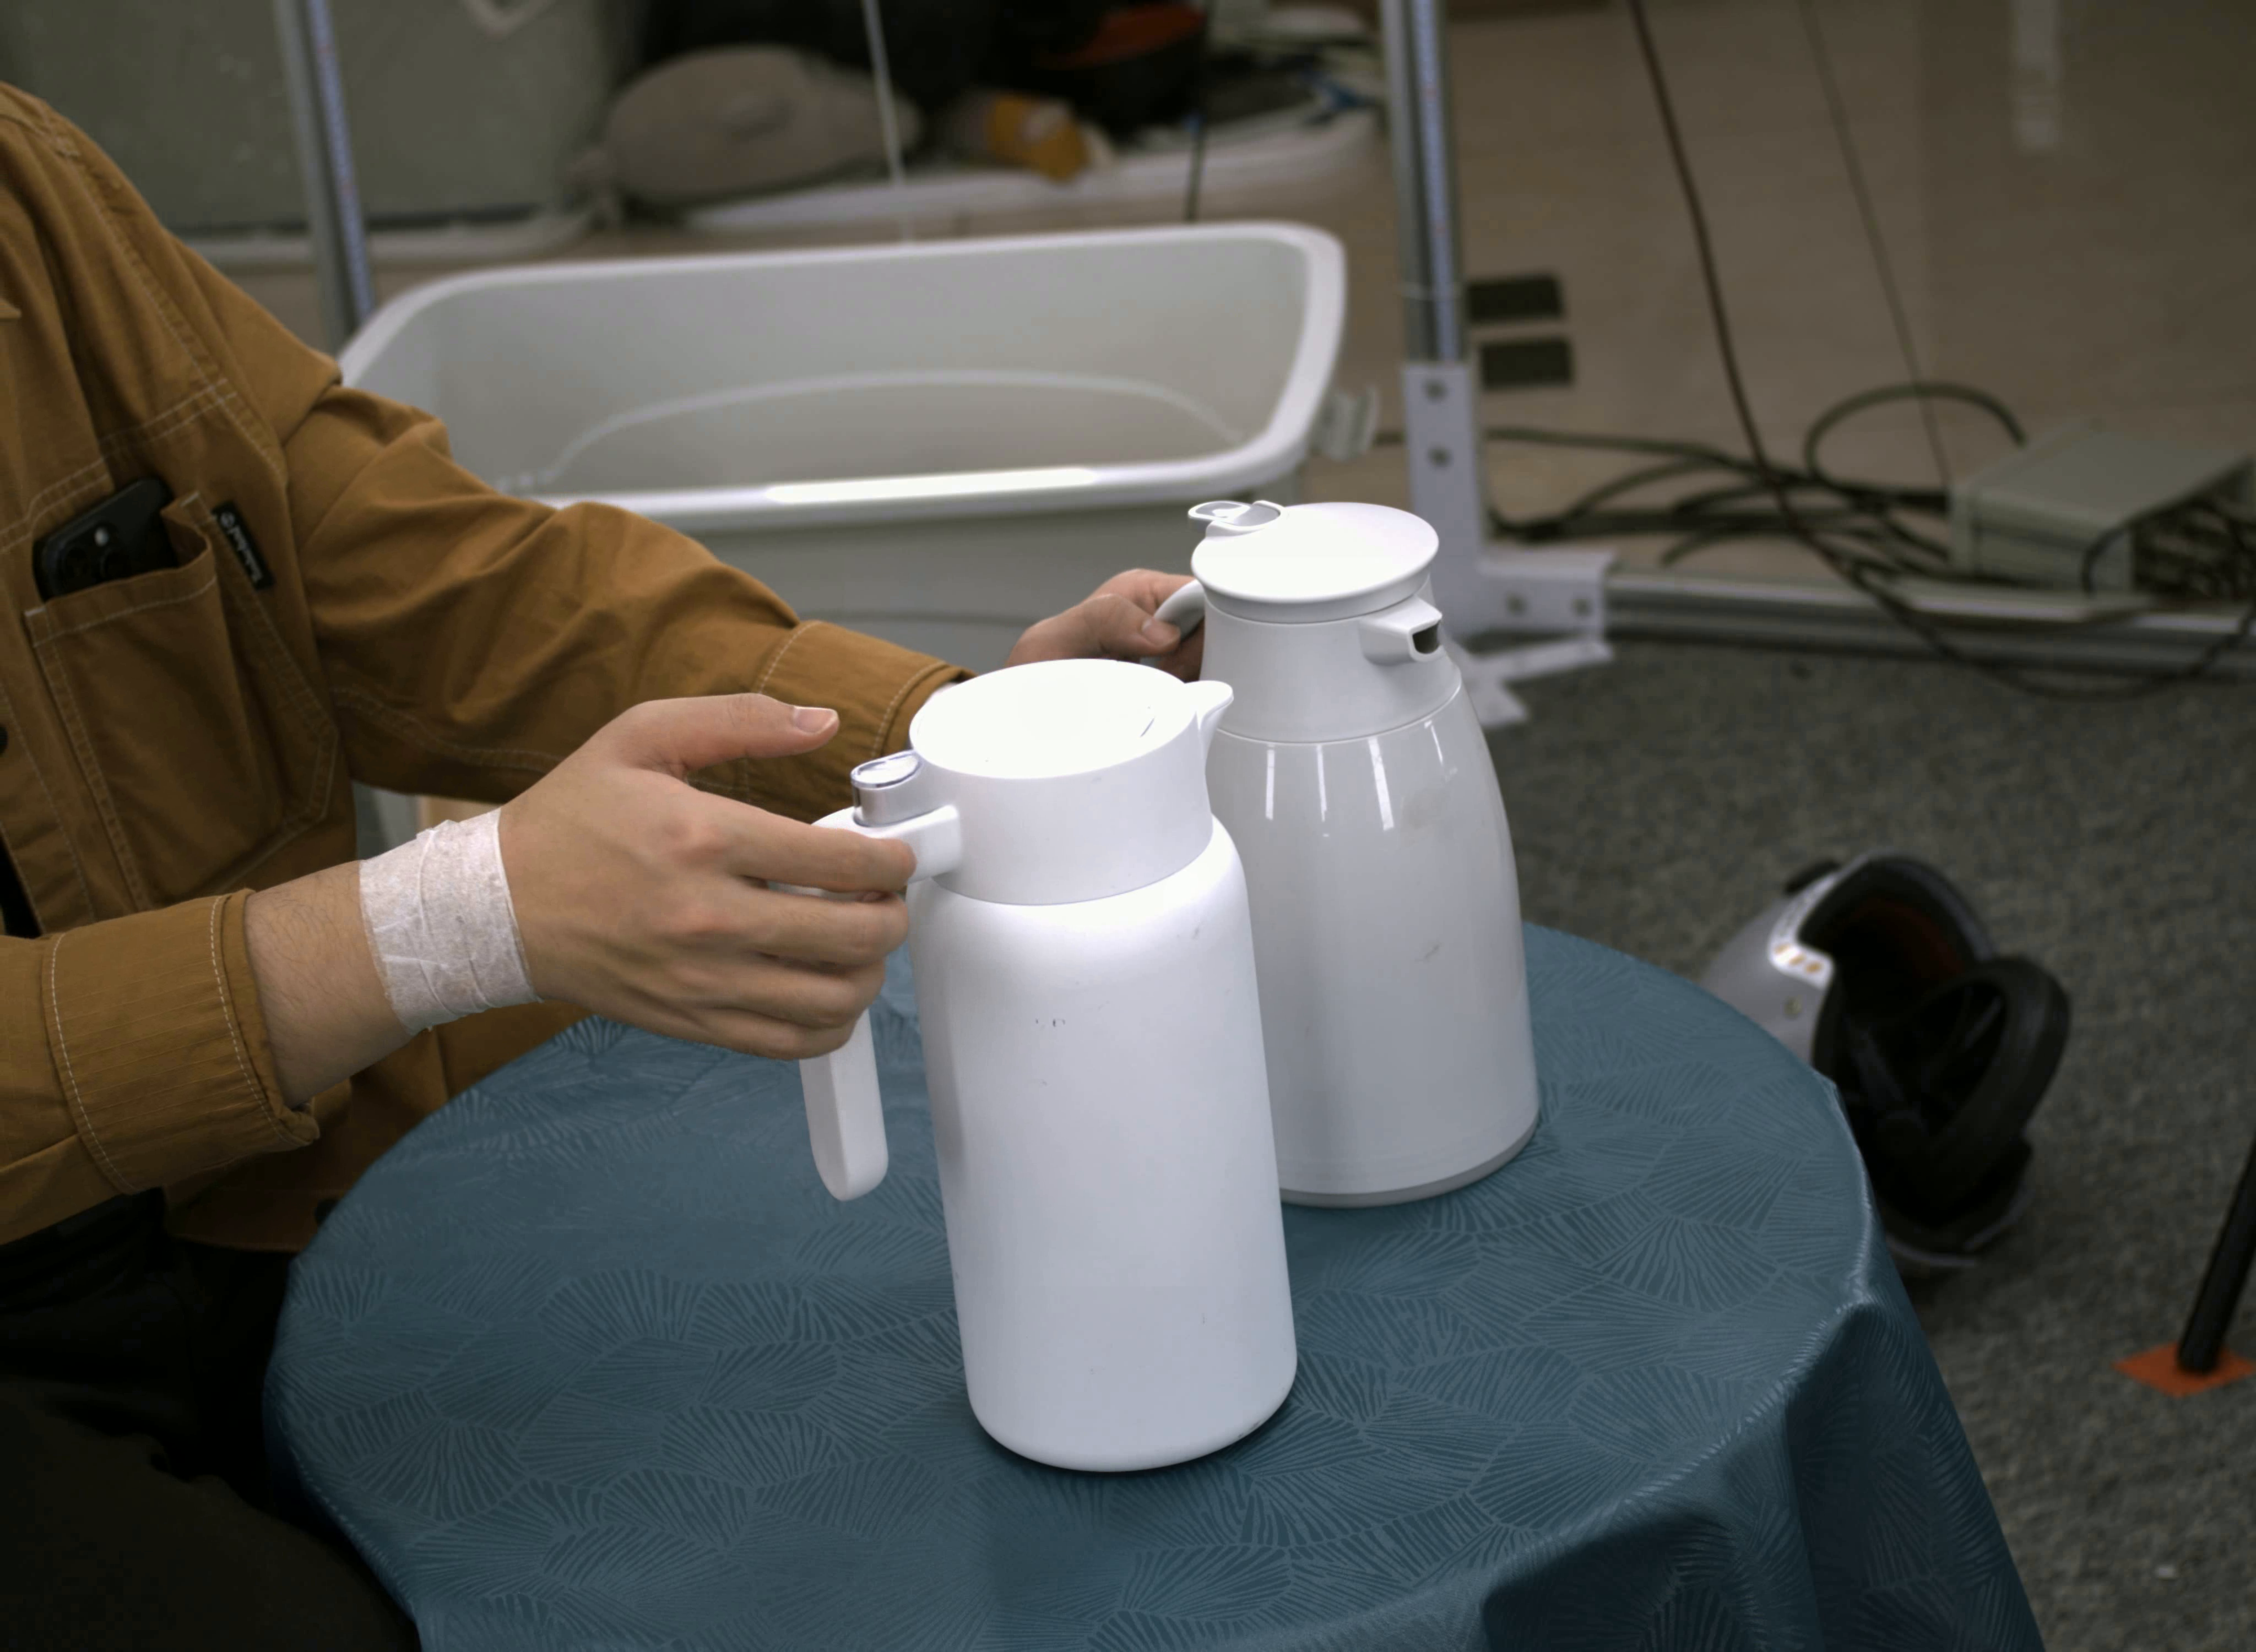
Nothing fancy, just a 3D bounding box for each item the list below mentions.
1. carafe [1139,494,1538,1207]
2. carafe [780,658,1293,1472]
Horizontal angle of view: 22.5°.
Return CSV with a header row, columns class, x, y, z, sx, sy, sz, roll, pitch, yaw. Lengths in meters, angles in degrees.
class,x,y,z,sx,sy,sz,roll,pitch,yaw
carafe,0.067,-0.001,2.135,0.131,0.252,0.166,-25,30,-34
carafe,-0.026,0.088,1.945,0.172,0.273,0.122,-19,30,-25
